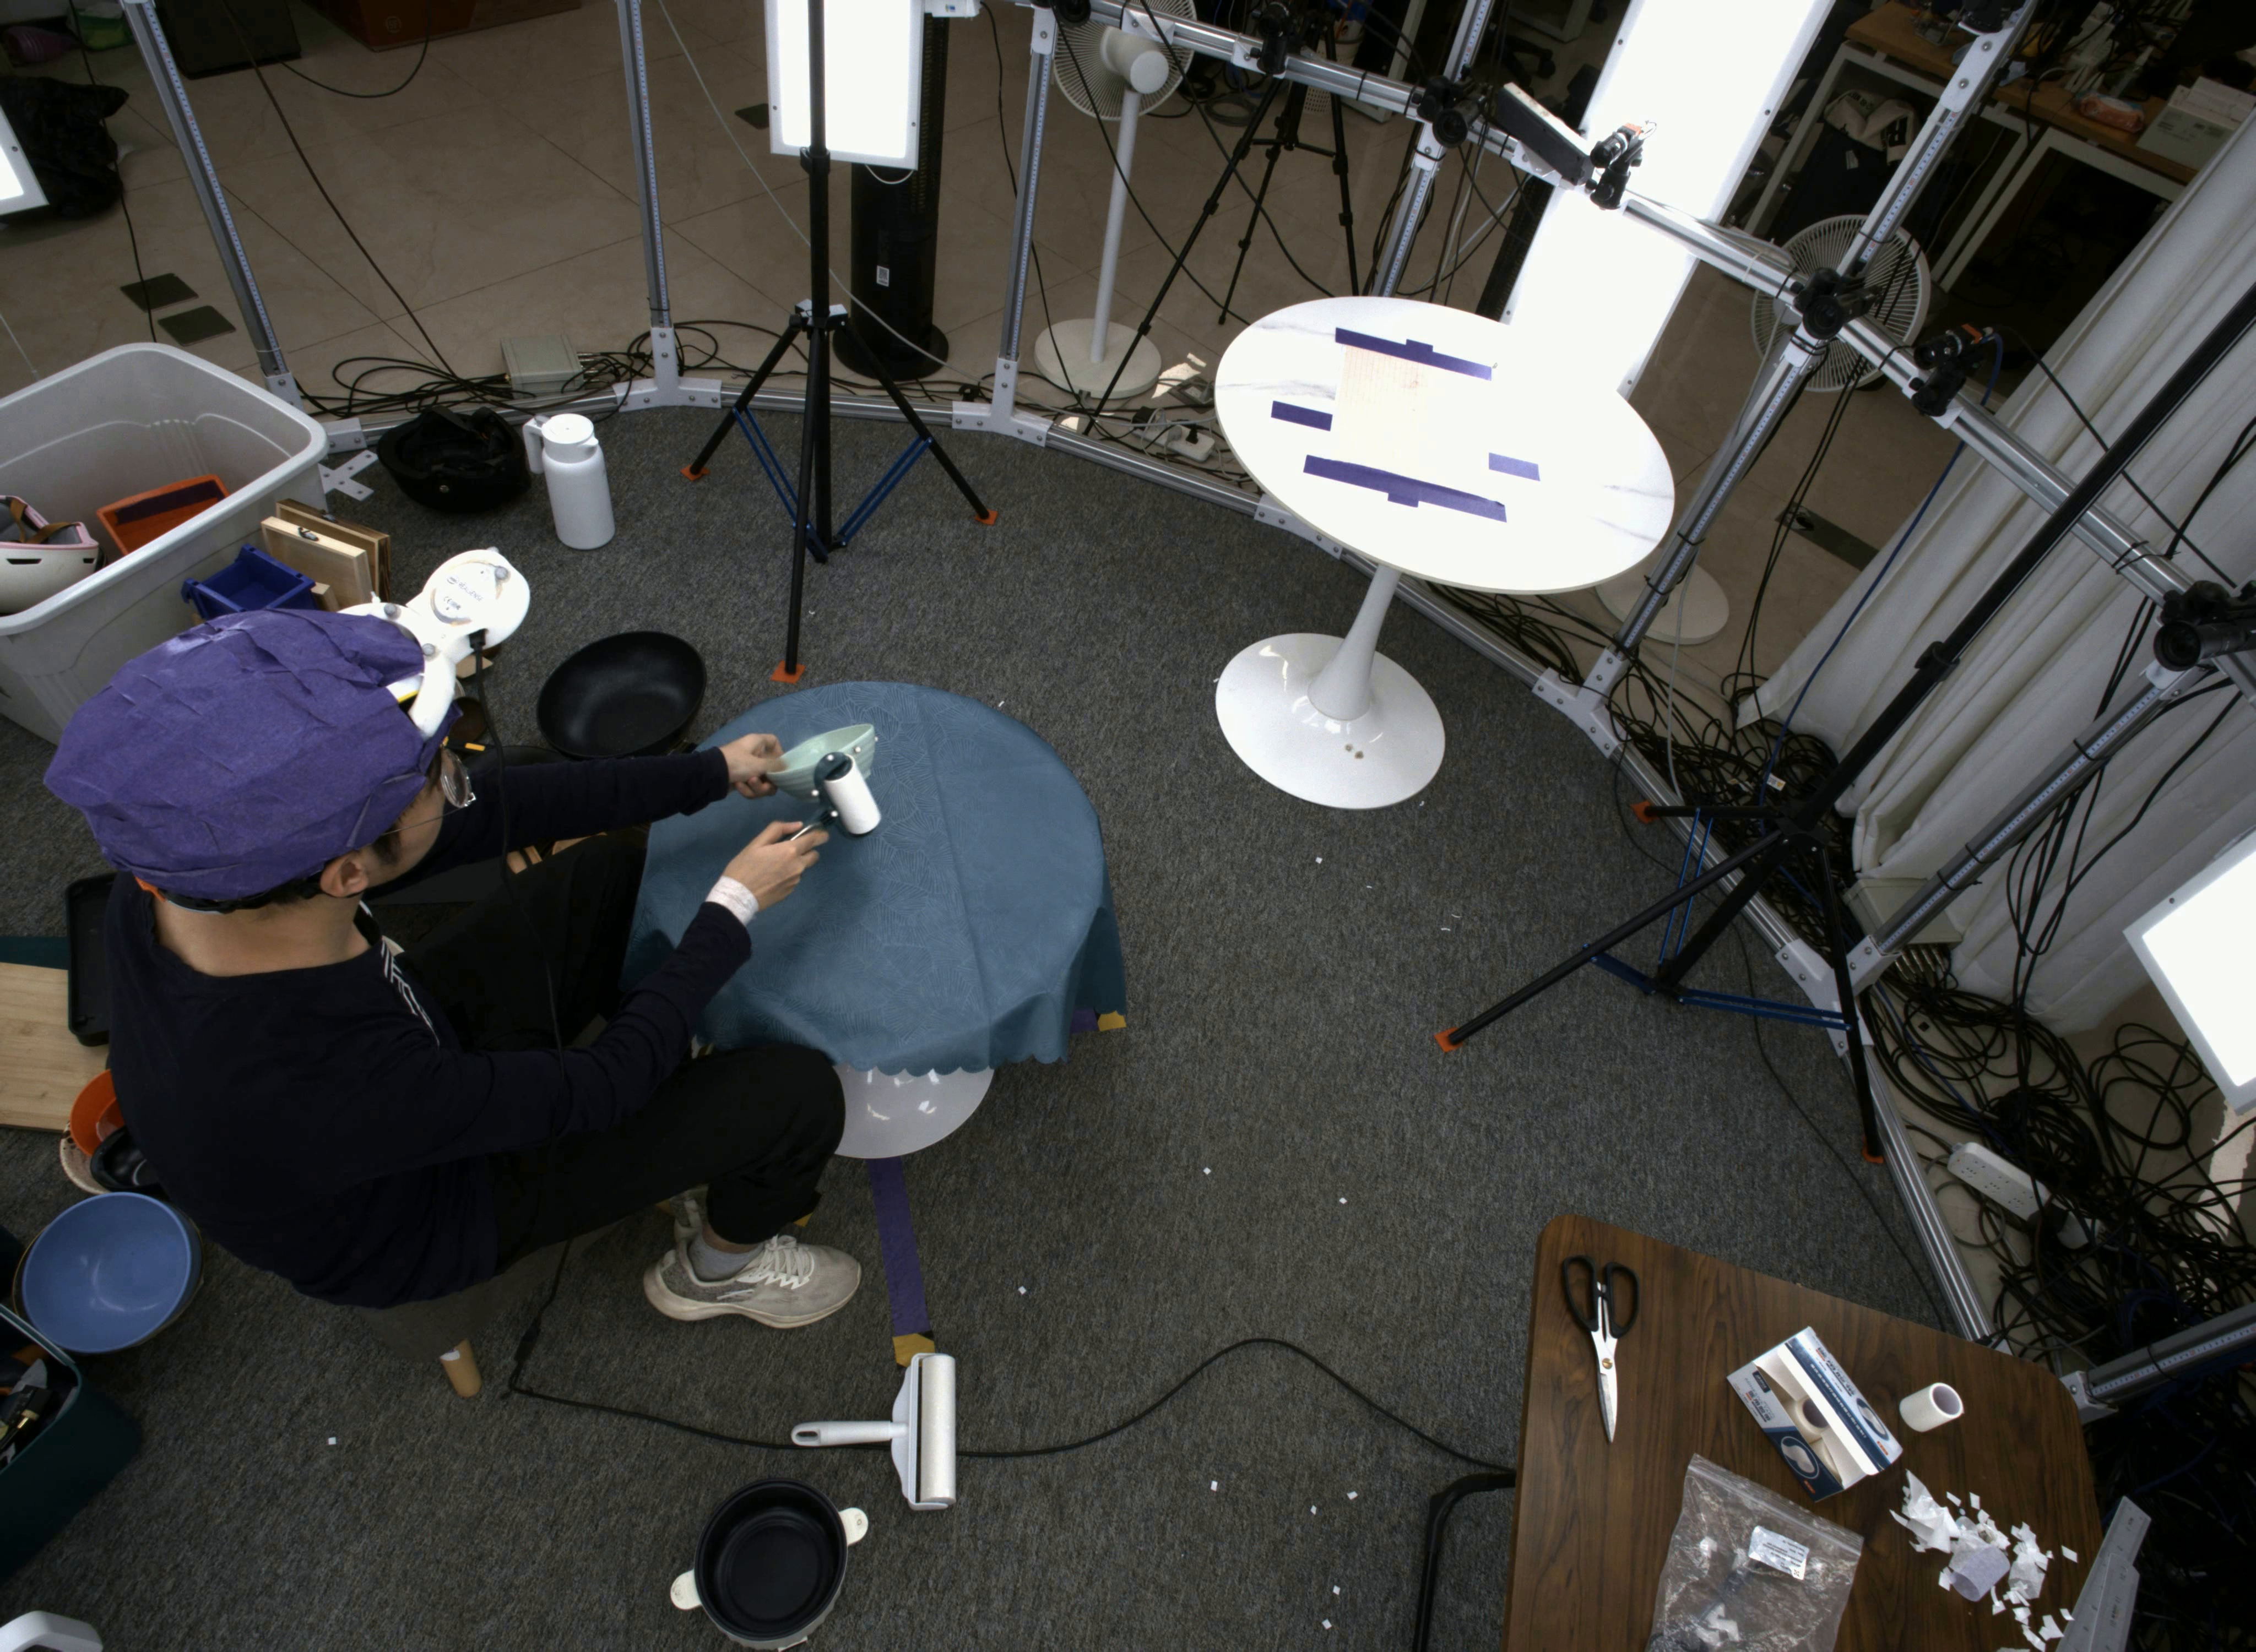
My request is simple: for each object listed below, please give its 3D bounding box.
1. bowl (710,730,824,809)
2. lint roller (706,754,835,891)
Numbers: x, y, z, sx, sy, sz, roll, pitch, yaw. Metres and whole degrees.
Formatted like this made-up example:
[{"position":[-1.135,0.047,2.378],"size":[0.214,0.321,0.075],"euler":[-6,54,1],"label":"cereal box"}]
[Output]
[{"position":[-0.450,-0.067,1.650],"size":[0.149,0.060,0.149],"euler":[-17,19,8],"label":"bowl"},{"position":[-0.437,0.012,1.567],"size":[0.047,0.139,0.179],"euler":[20,59,27],"label":"lint roller"}]
